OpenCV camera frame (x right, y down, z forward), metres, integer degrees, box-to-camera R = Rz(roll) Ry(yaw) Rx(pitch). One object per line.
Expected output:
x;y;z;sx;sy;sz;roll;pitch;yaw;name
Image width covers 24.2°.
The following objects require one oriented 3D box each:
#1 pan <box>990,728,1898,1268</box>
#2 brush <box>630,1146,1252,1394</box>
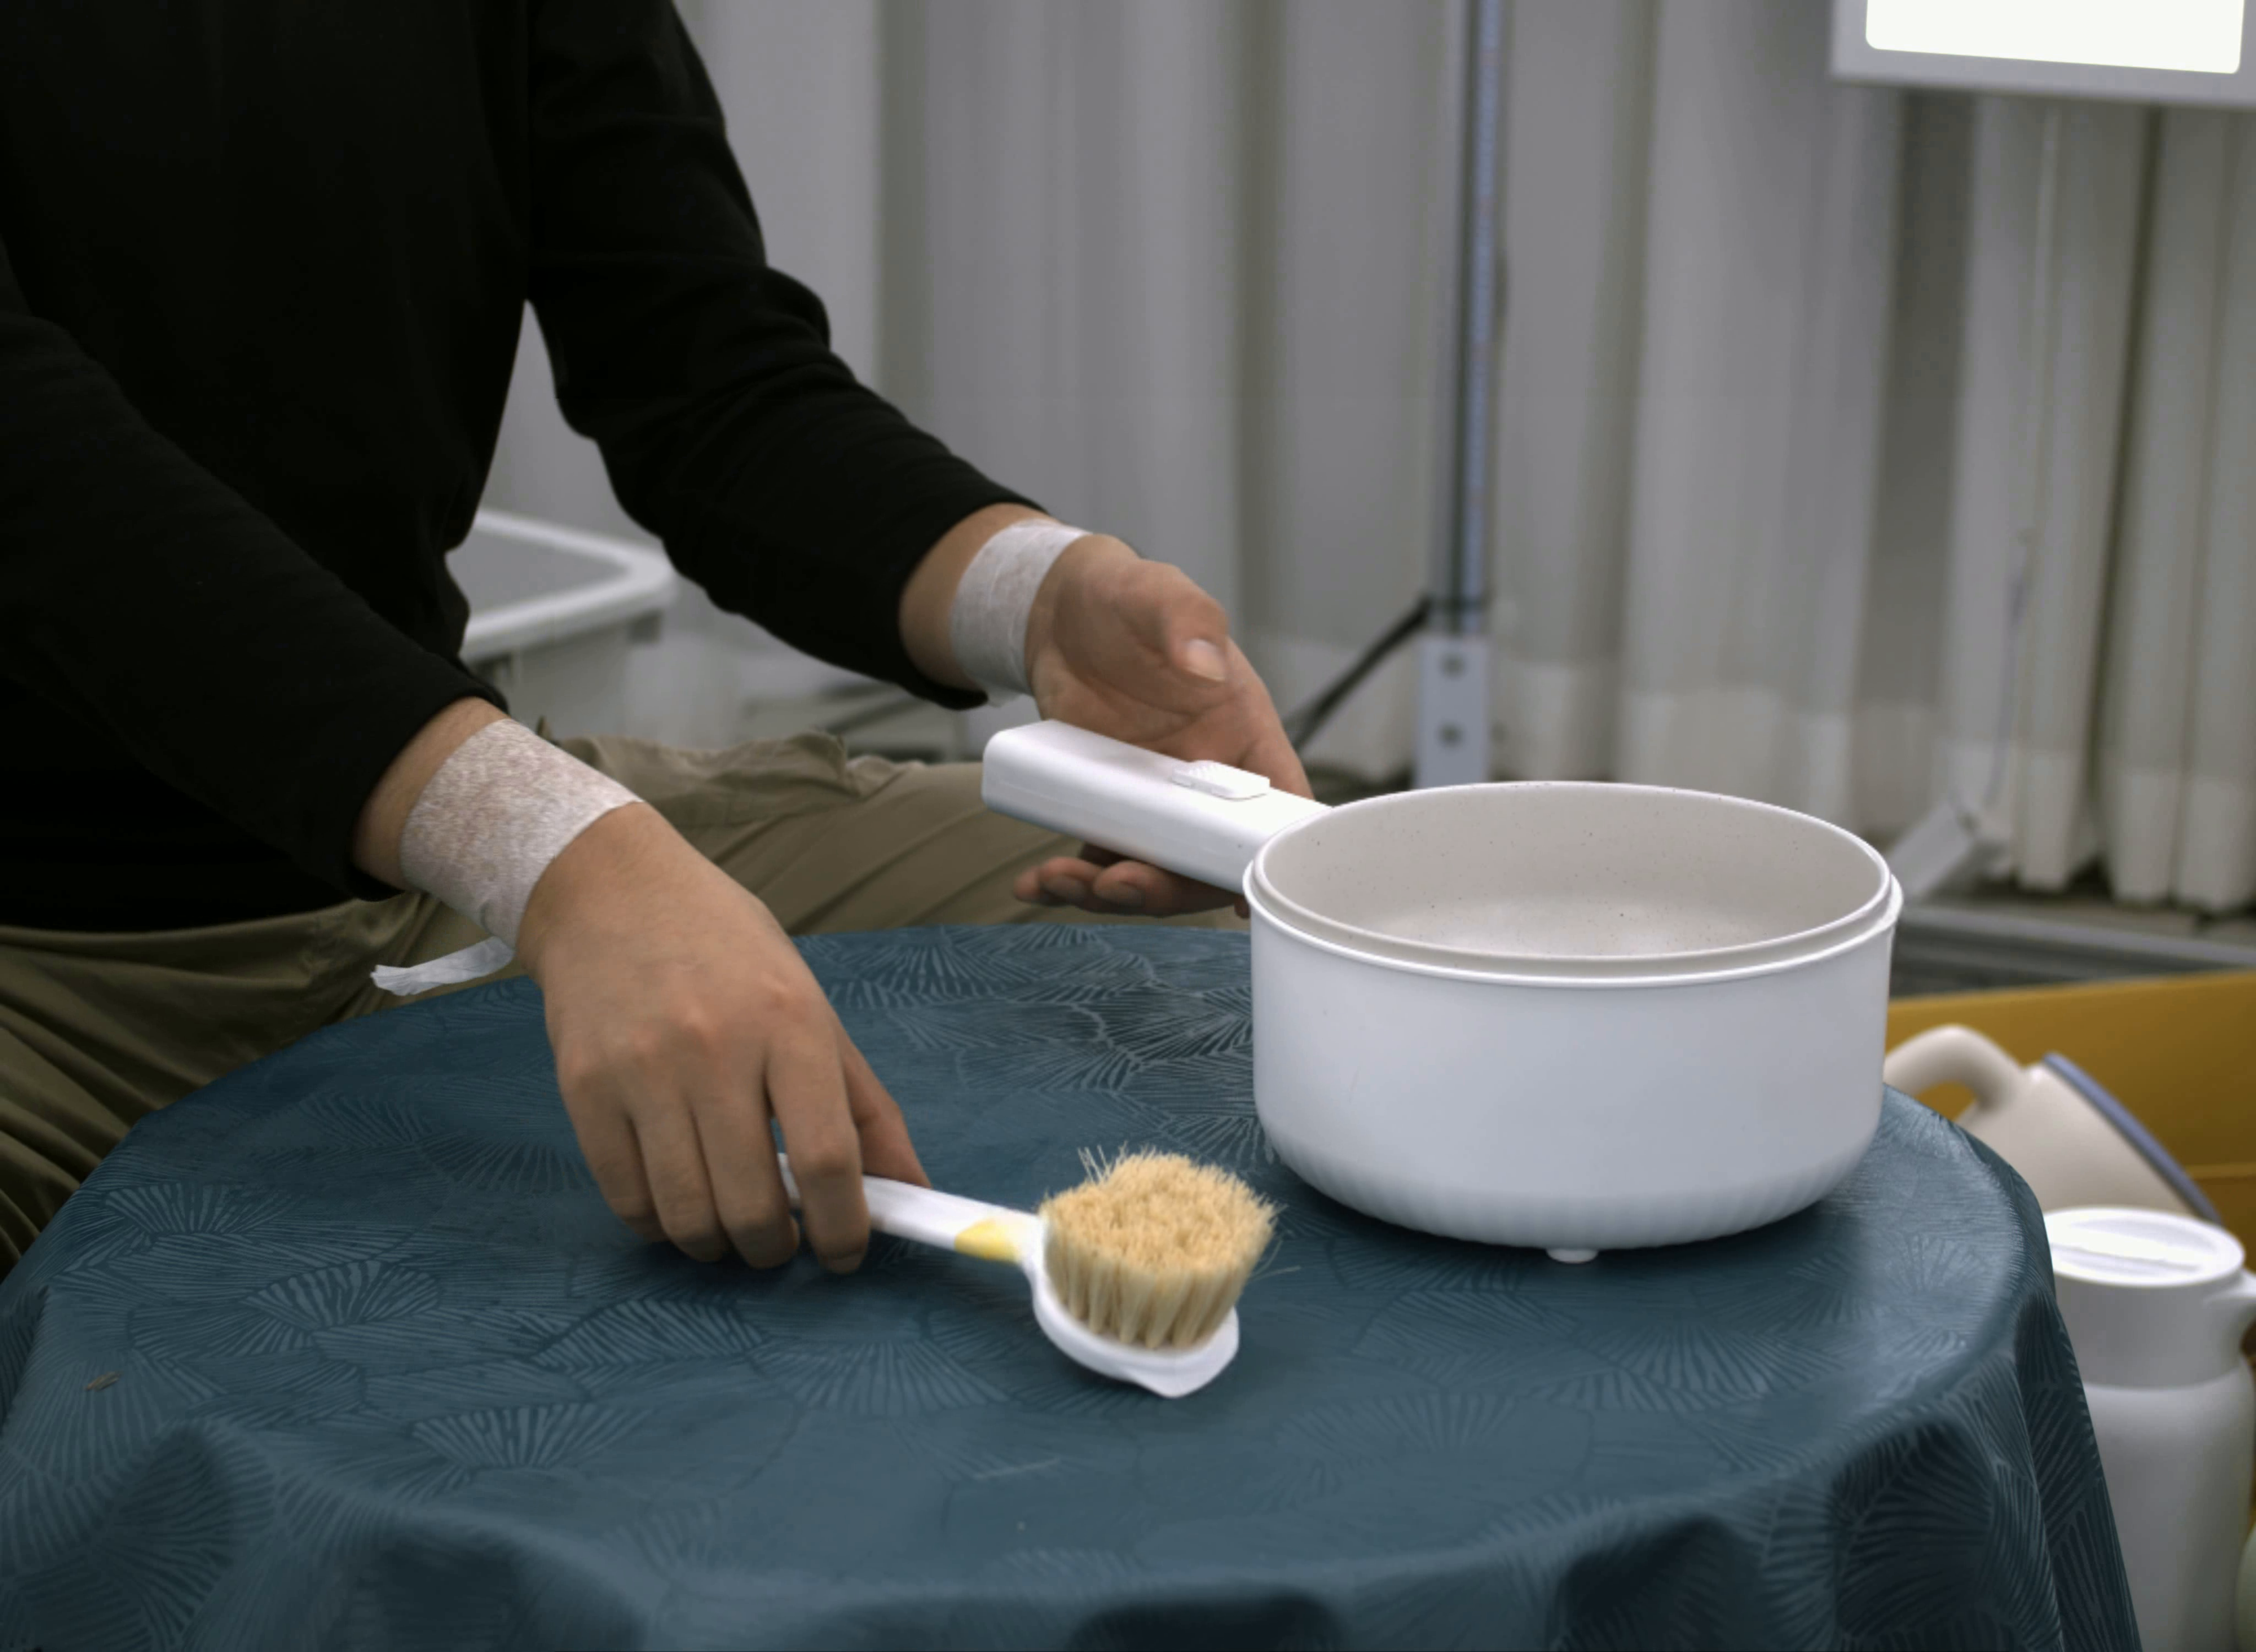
0.084;0.047;1.678;0.202;0.103;0.350;-15;21;-41;pan
-0.064;0.106;1.541;0.069;0.056;0.263;-7;15;-40;brush
